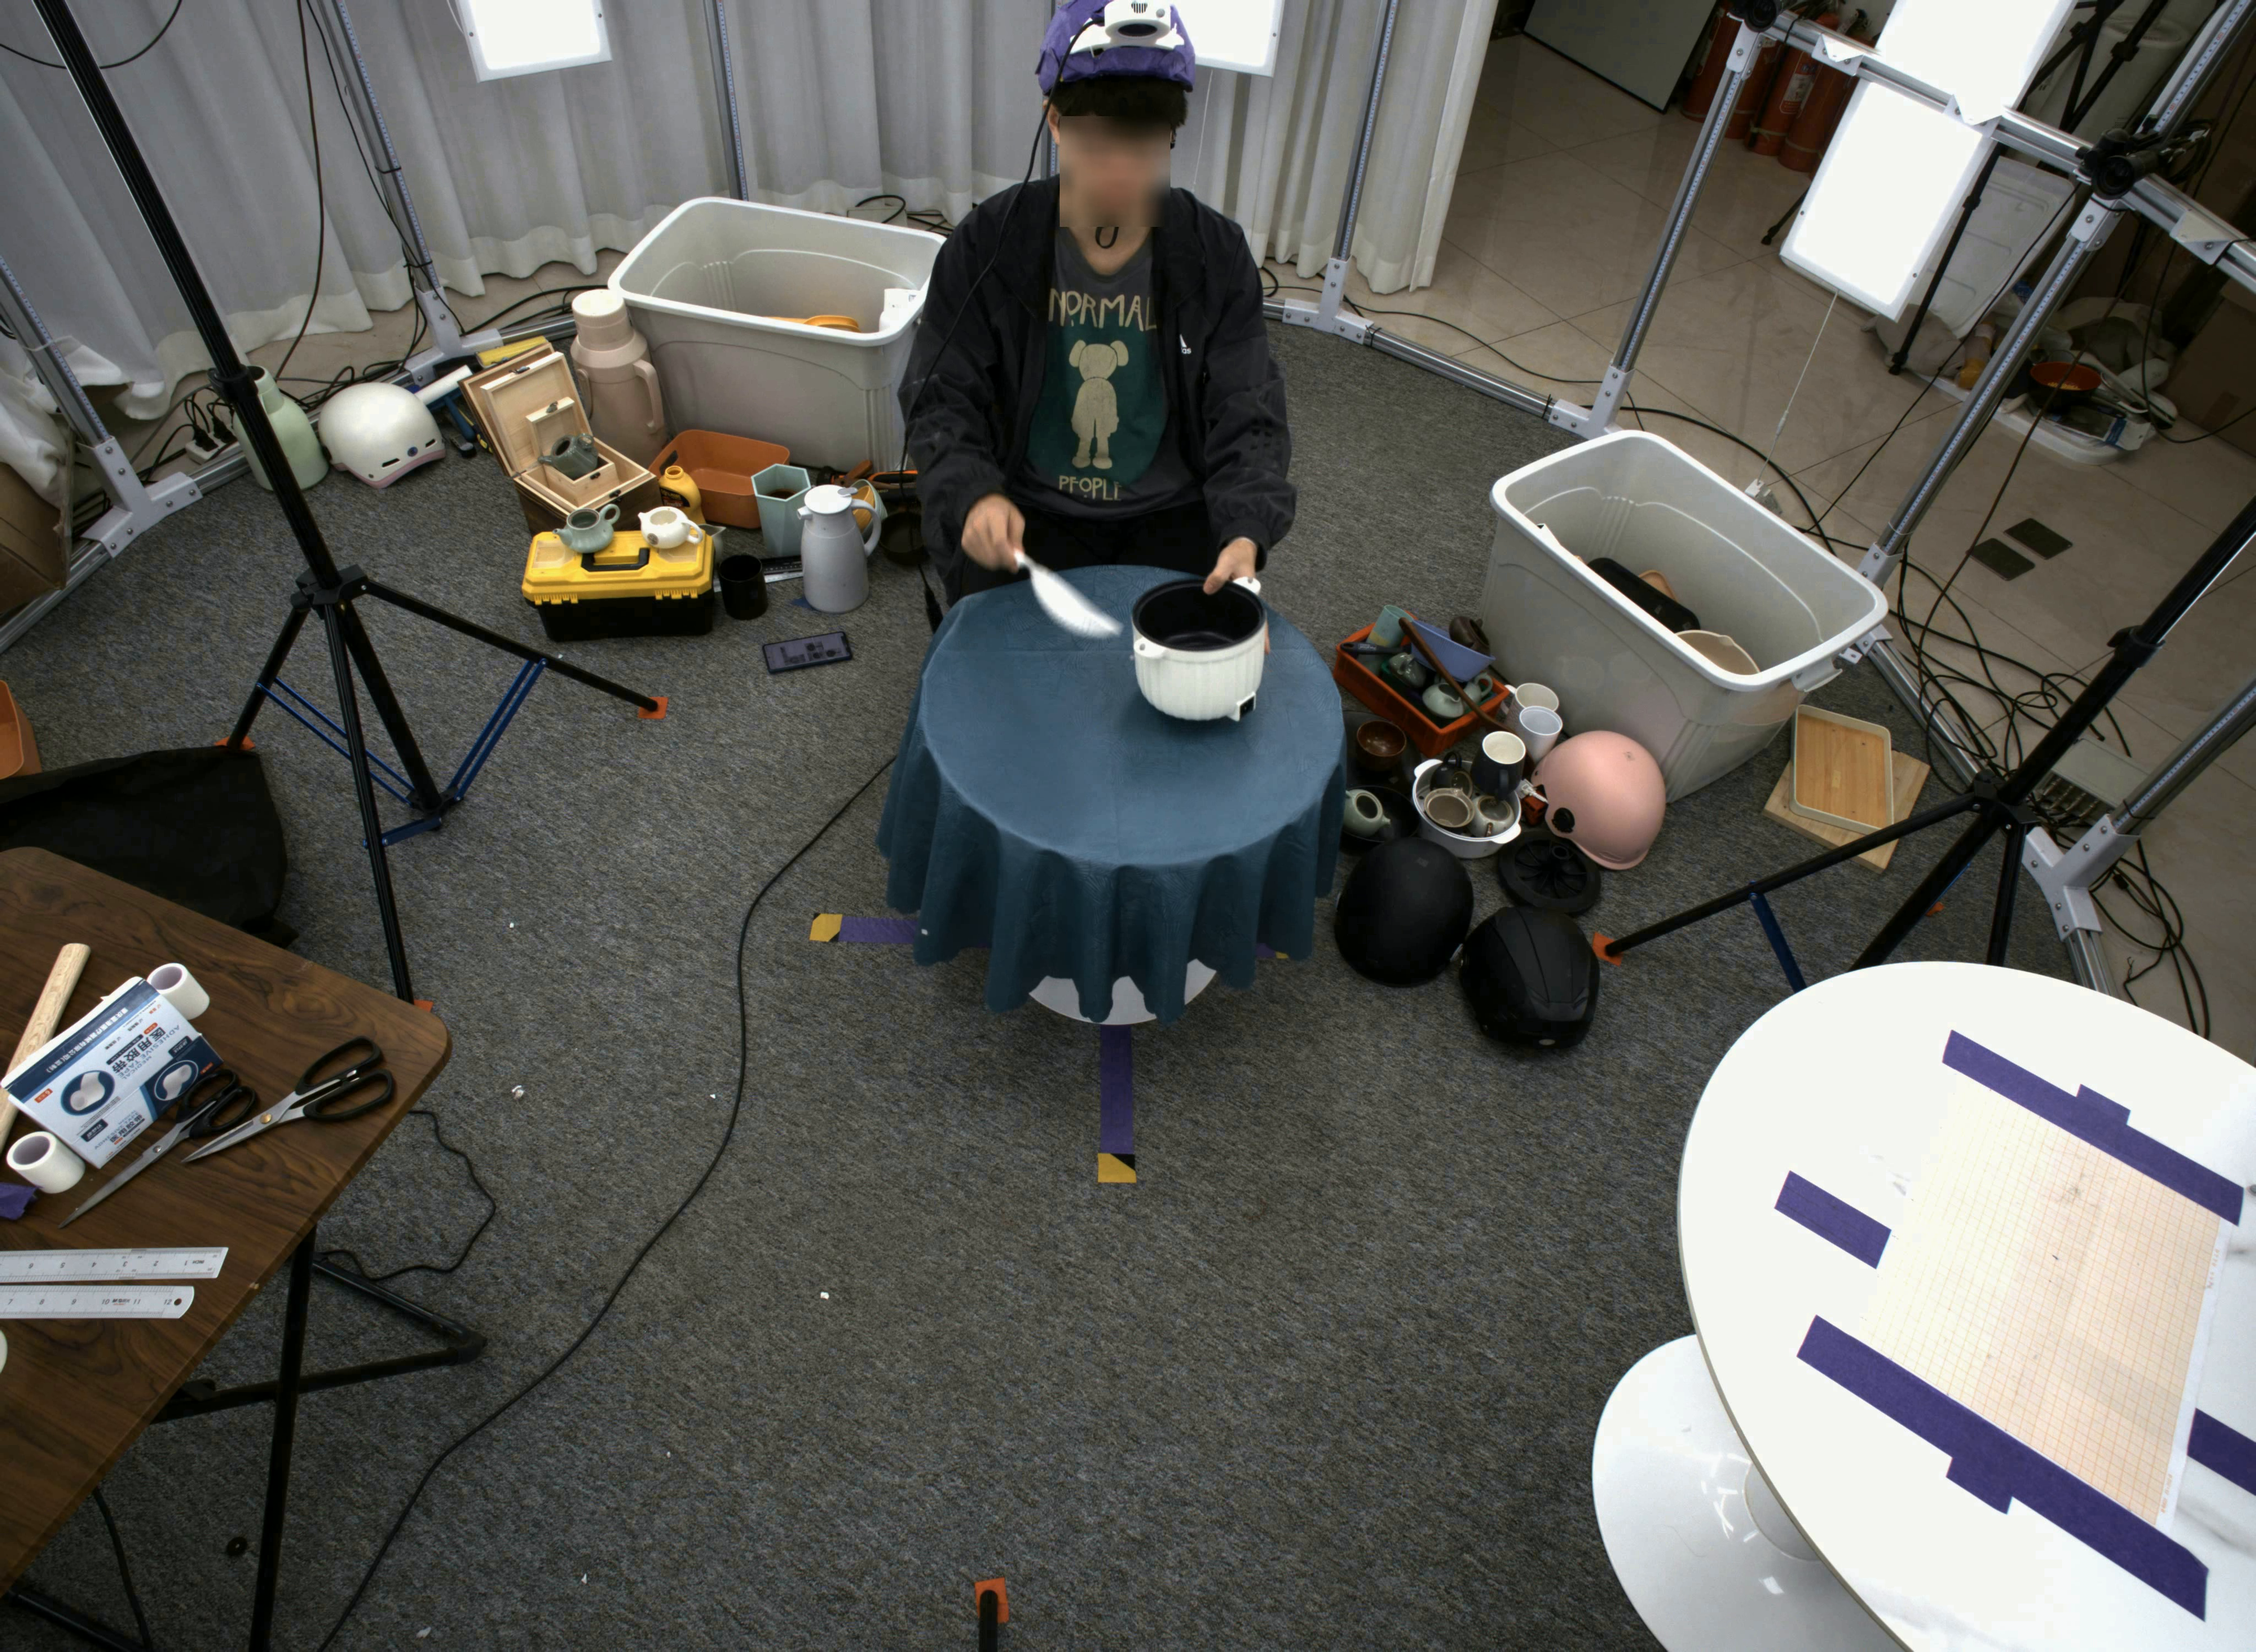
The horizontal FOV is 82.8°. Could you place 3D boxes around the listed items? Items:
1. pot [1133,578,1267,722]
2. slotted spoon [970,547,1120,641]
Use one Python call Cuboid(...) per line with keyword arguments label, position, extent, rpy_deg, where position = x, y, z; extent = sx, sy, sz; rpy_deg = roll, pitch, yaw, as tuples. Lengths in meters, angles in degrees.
Cuboid(label="pot", position=(0.093, -0.240, 1.776), extent=(0.193, 0.139, 0.242), rpy_deg=(33, 50, 30))
Cuboid(label="slotted spoon", position=(-0.128, -0.326, 1.737), extent=(0.134, 0.050, 0.355), rpy_deg=(28, 14, -40))
